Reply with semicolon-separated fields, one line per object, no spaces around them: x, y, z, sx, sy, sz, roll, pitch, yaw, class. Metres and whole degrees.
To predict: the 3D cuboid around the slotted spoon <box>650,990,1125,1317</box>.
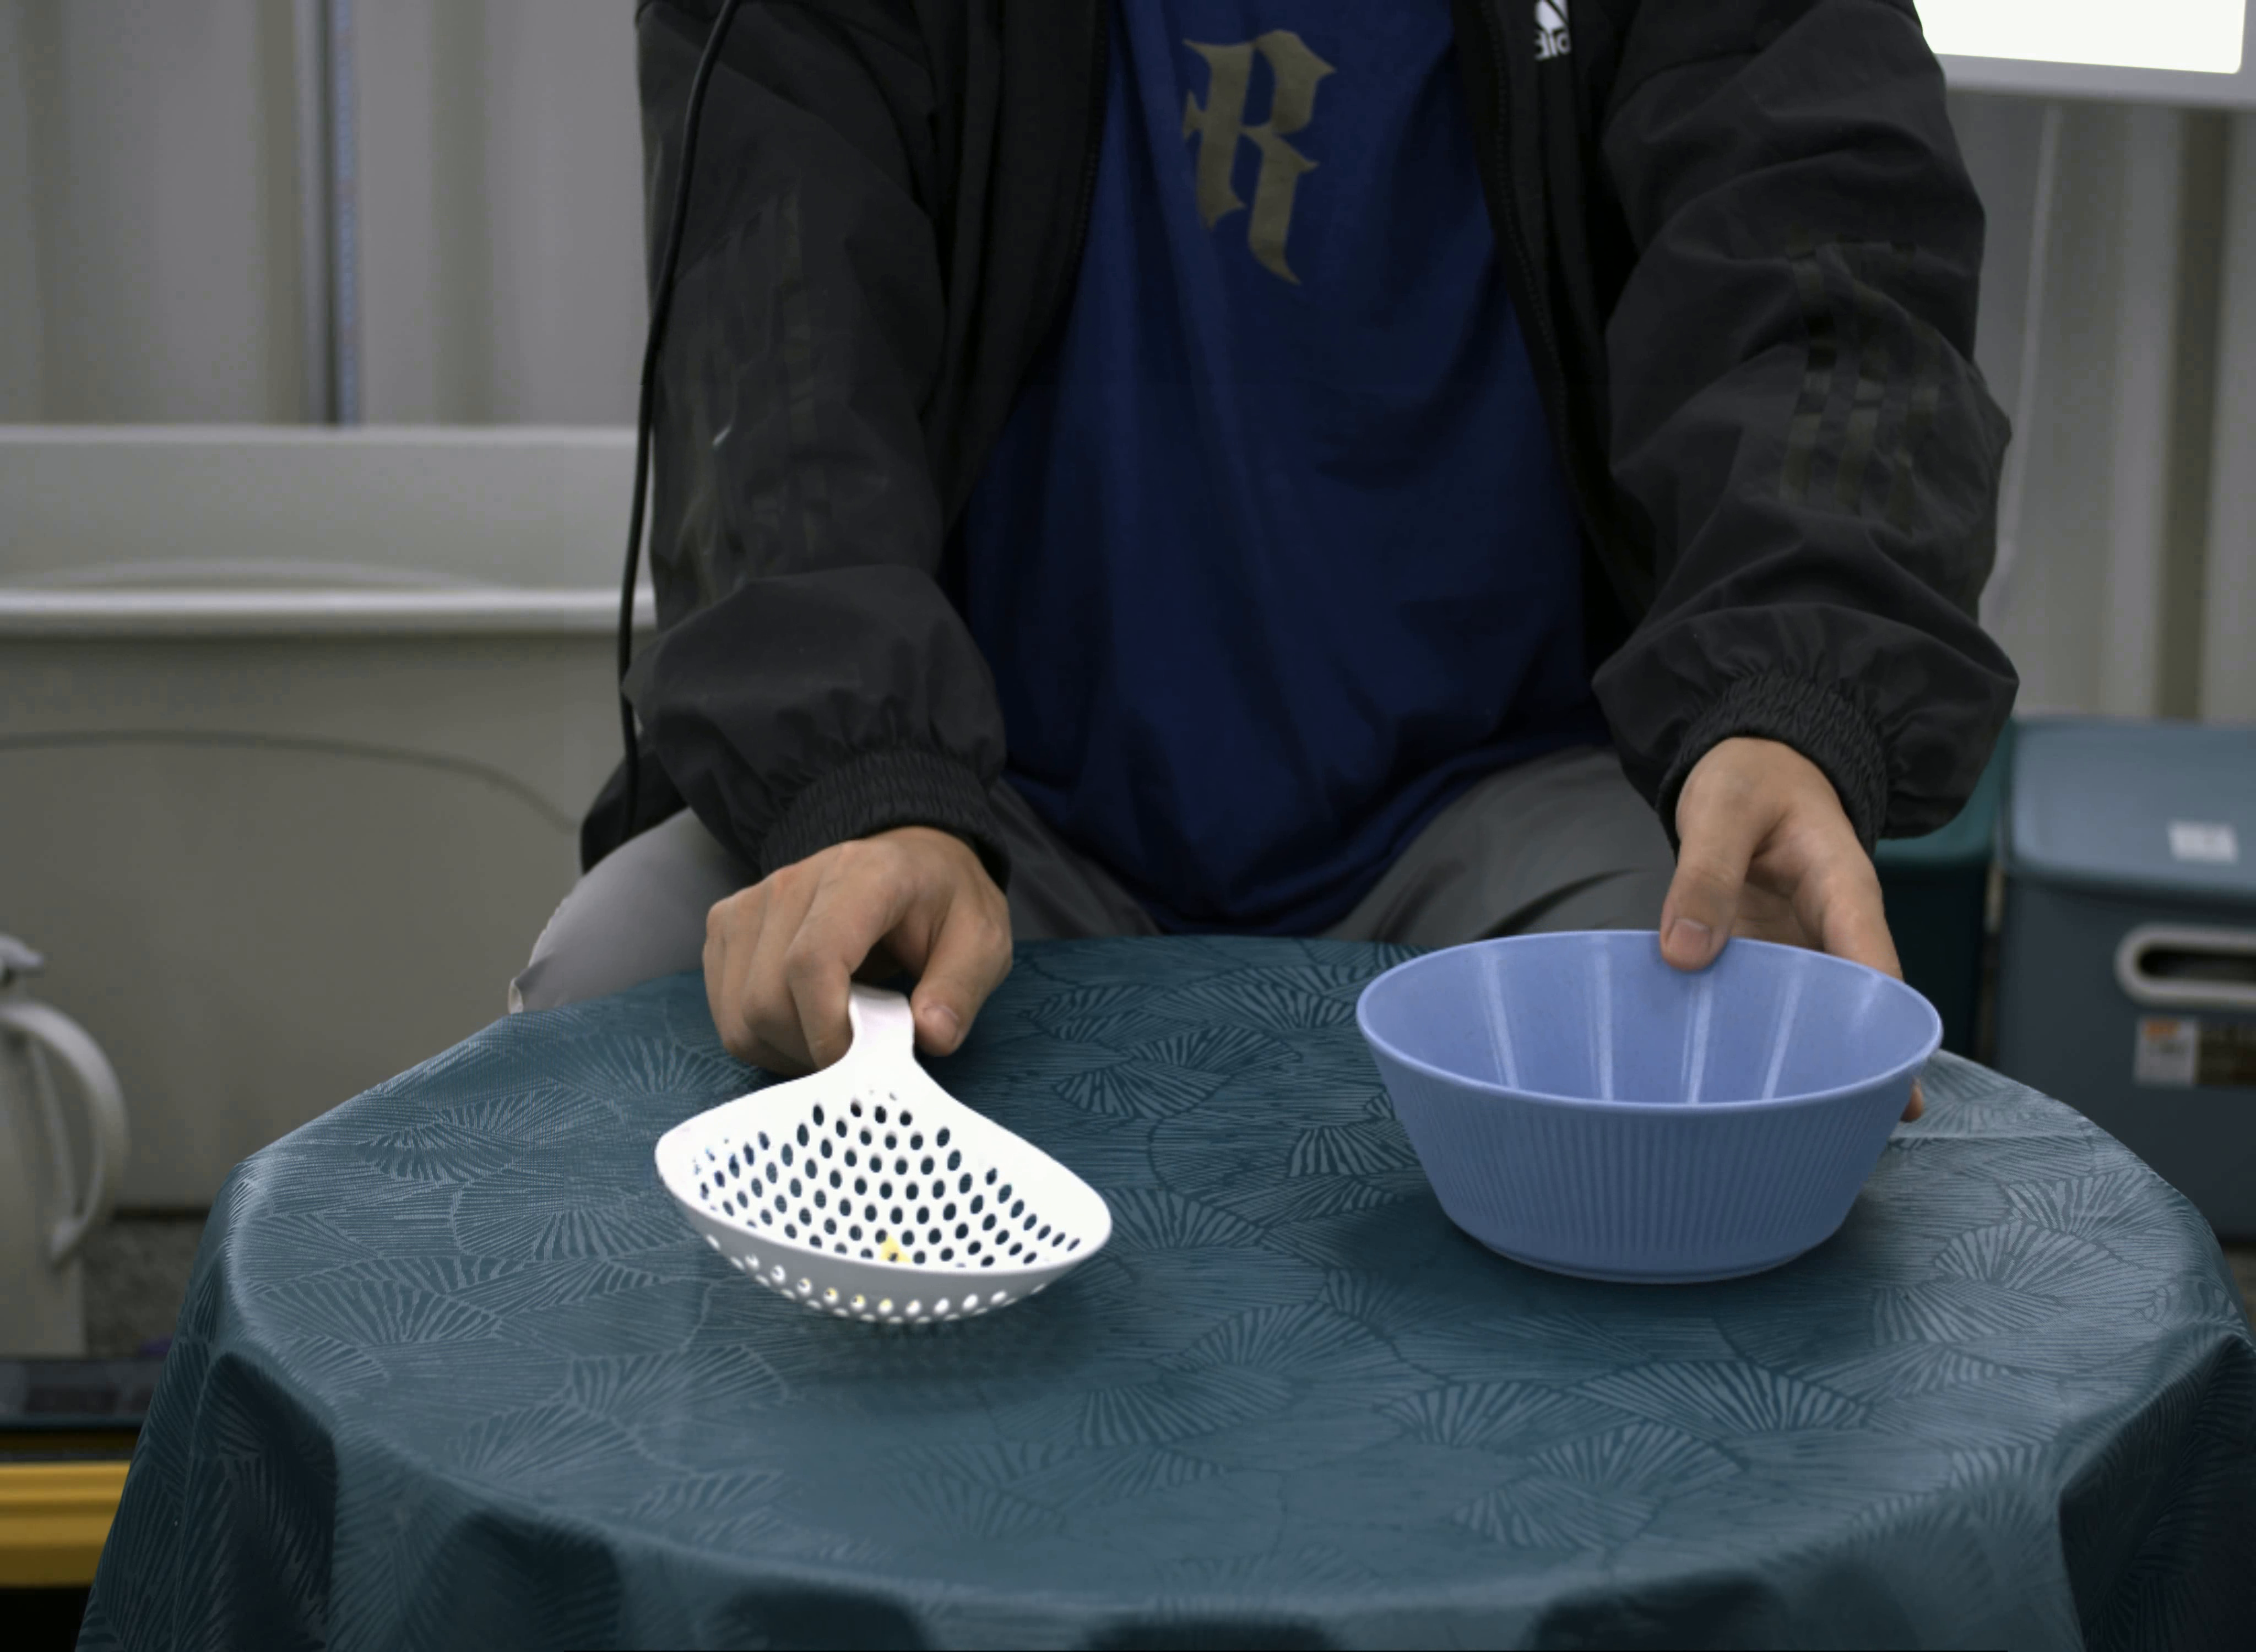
-0.079;0.087;1.617;0.137;0.050;0.345;6;16;-6;slotted spoon

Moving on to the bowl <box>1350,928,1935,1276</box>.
0.153;0.085;1.589;0.175;0.071;0.175;1;16;0;bowl
